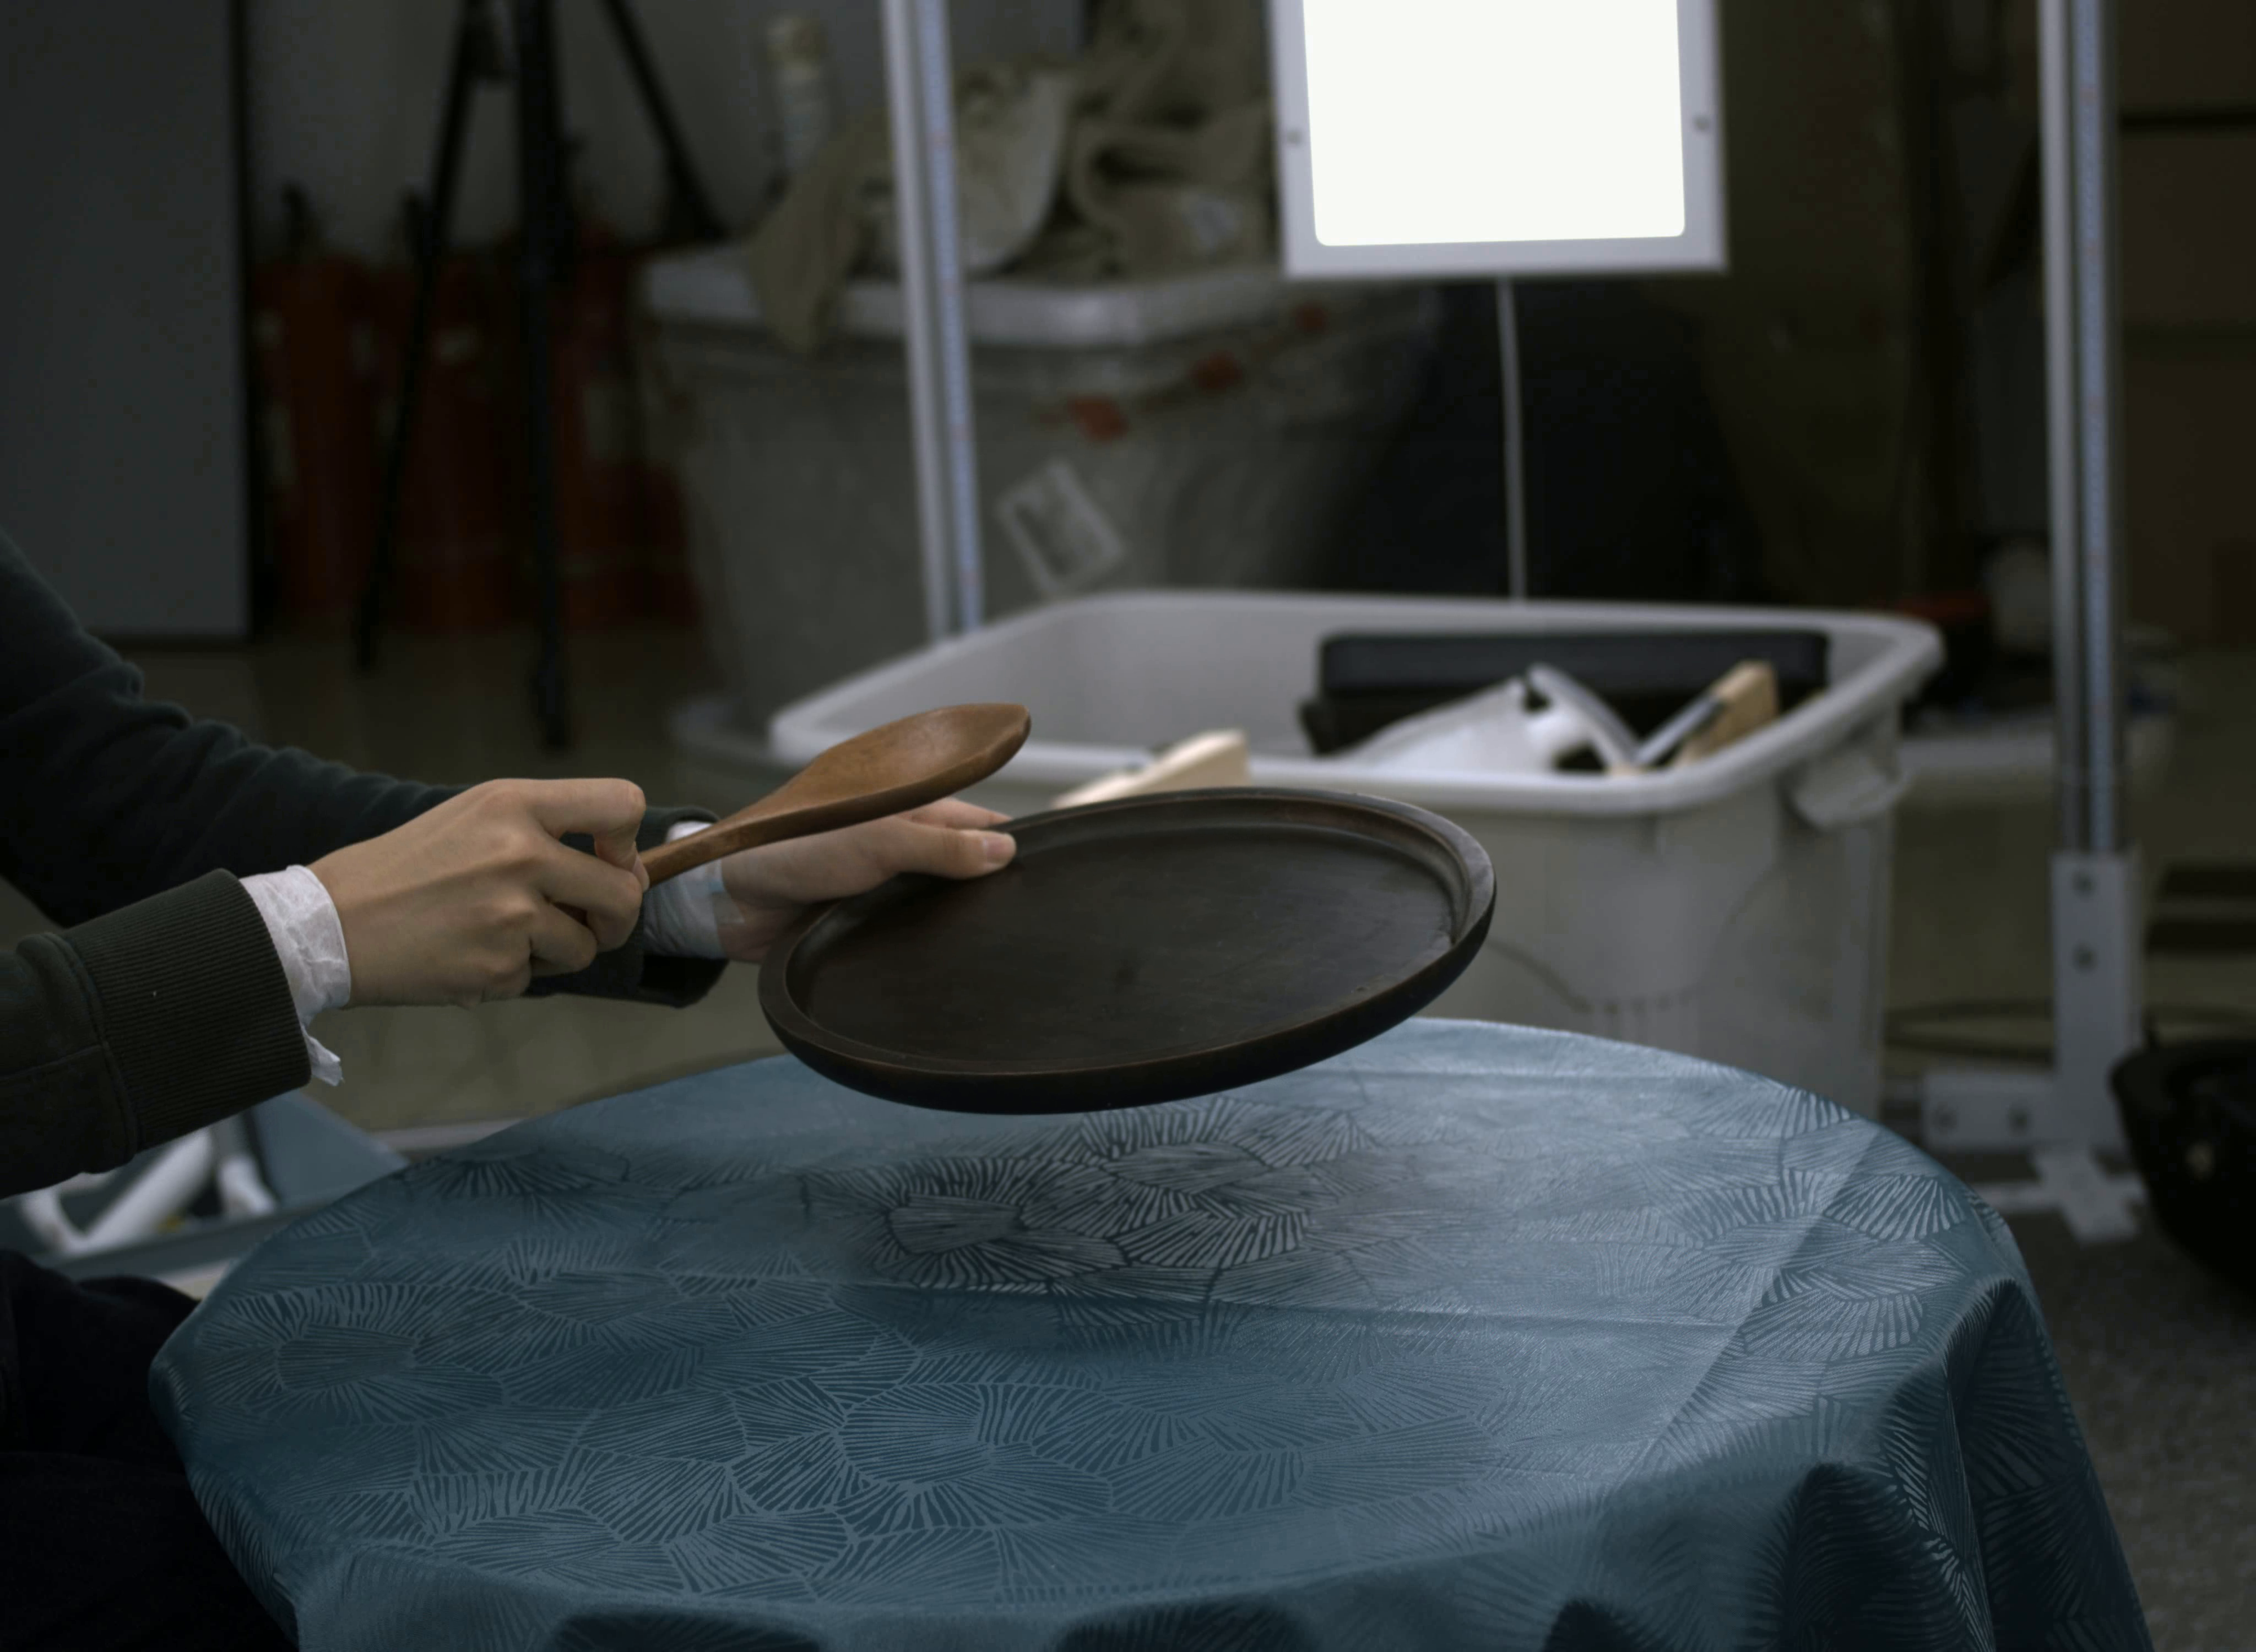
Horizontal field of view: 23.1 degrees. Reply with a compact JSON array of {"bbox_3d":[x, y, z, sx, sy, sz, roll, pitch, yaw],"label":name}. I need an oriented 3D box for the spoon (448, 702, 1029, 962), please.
[{"bbox_3d":[-0.130,0.002,1.857,0.212,0.017,0.076,-22,19,-17],"label":"spoon"}]

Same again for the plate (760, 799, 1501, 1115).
[{"bbox_3d":[0.001,0.042,1.858,0.254,0.029,0.254,-8,19,1],"label":"plate"}]
